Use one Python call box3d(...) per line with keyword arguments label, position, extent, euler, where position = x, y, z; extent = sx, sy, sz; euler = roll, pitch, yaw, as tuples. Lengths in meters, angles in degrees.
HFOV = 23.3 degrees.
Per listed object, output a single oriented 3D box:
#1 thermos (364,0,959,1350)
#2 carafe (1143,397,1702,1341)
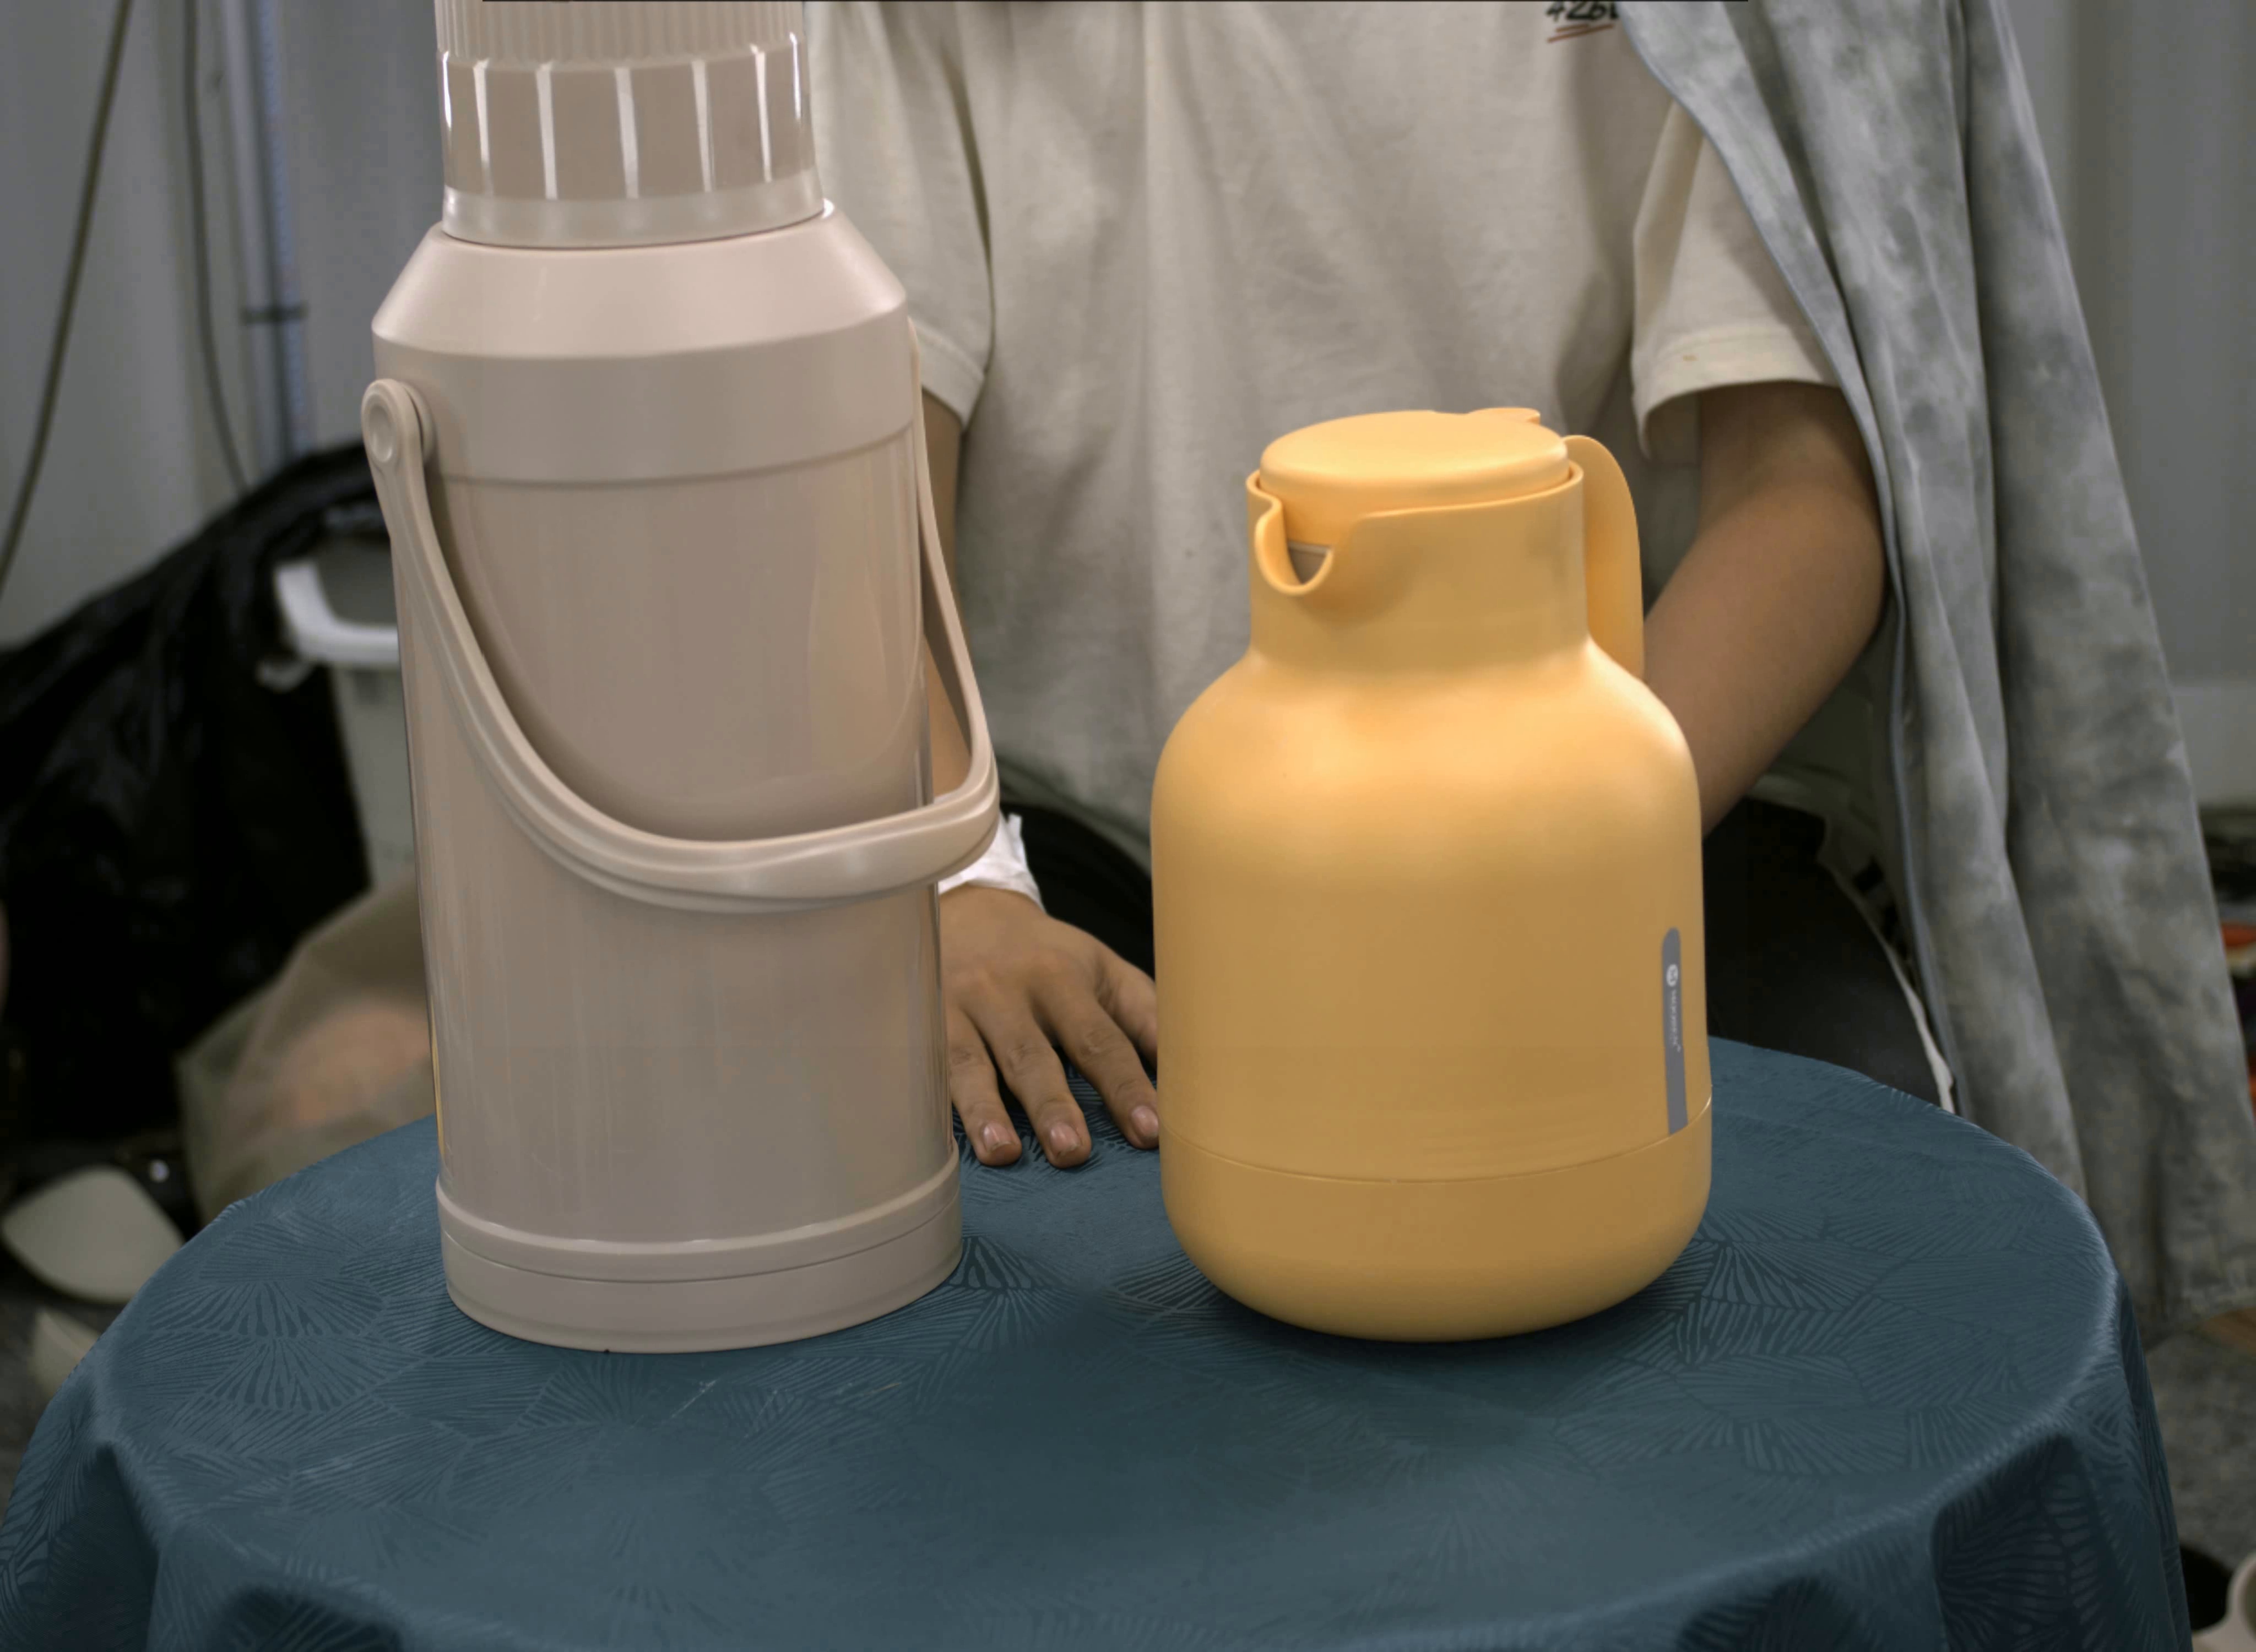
box3d(label="thermos", position=(-0.145, -0.061, 1.639), extent=(0.175, 0.404, 0.208), euler=(-13, 17, -33))
box3d(label="carafe", position=(0.097, 0.005, 1.610), extent=(0.164, 0.259, 0.202), euler=(9, 20, 32))
